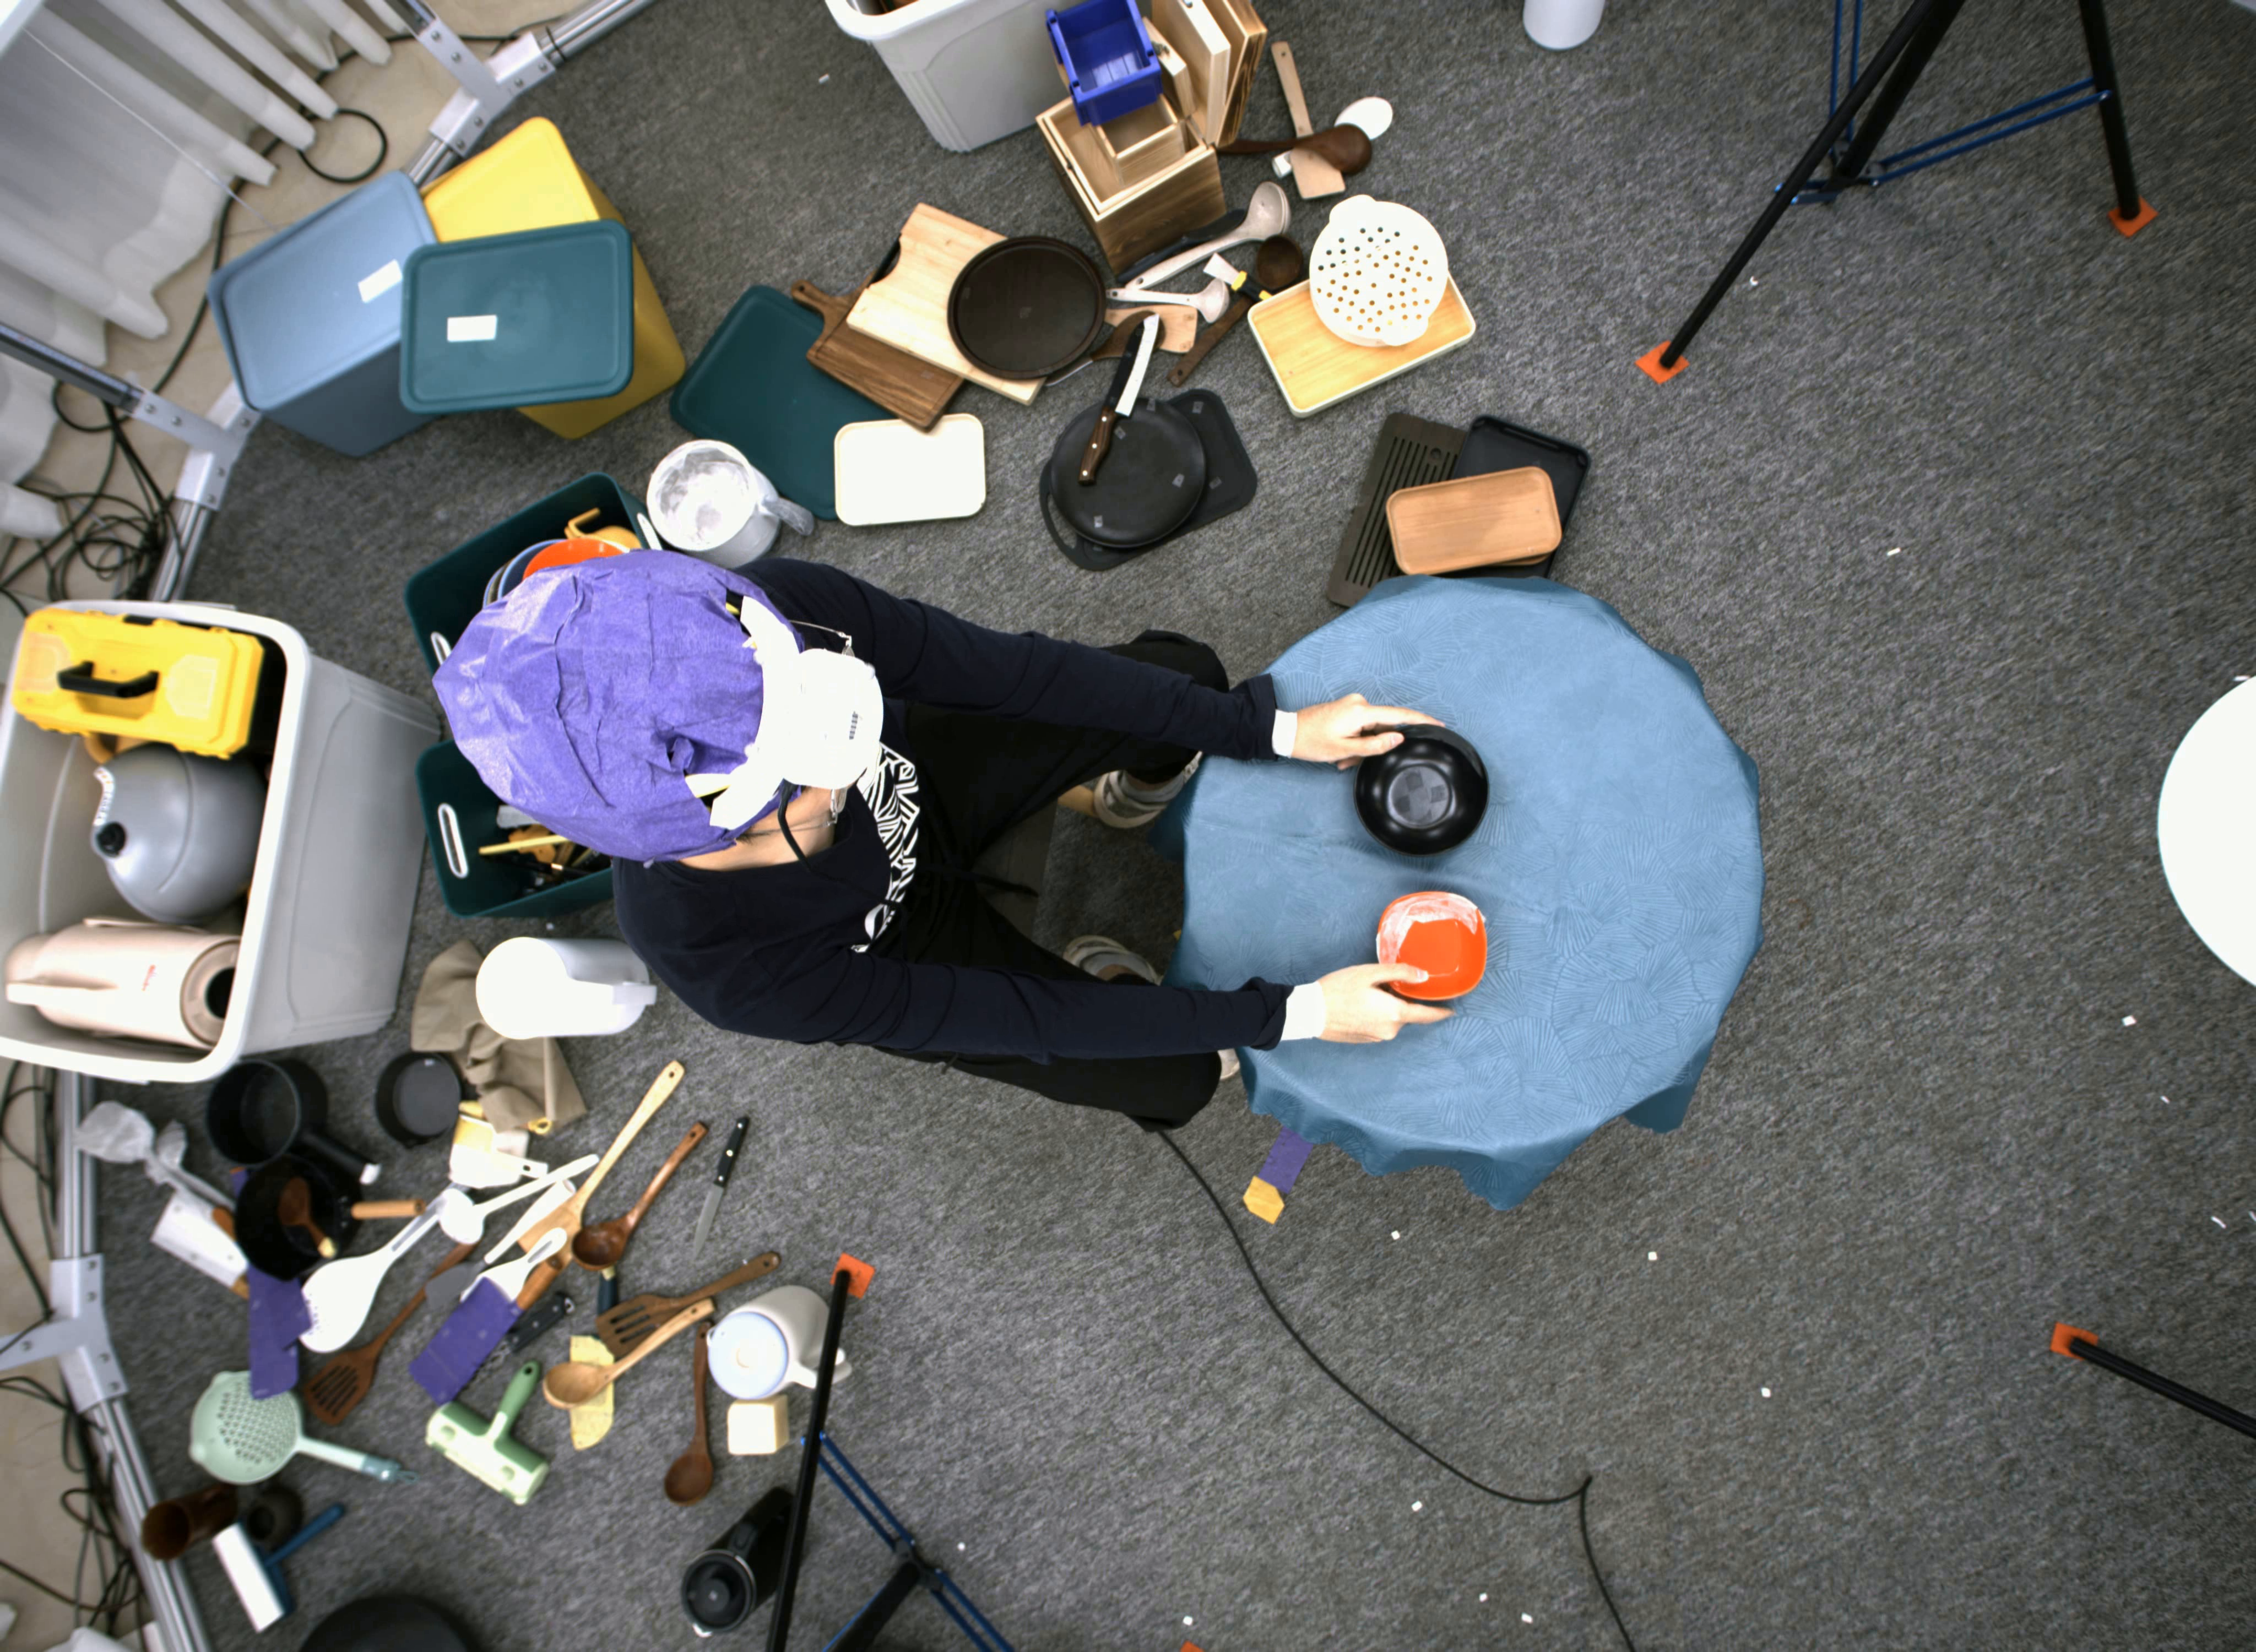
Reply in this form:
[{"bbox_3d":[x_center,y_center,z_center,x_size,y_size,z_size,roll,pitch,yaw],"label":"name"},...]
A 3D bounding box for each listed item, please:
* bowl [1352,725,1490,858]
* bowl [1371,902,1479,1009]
[{"bbox_3d":[0.305,-0.036,1.437,0.141,0.050,0.139,-1,86,14],"label":"bowl"},{"bbox_3d":[0.305,0.131,1.434,0.119,0.051,0.119,0,92,5],"label":"bowl"}]
